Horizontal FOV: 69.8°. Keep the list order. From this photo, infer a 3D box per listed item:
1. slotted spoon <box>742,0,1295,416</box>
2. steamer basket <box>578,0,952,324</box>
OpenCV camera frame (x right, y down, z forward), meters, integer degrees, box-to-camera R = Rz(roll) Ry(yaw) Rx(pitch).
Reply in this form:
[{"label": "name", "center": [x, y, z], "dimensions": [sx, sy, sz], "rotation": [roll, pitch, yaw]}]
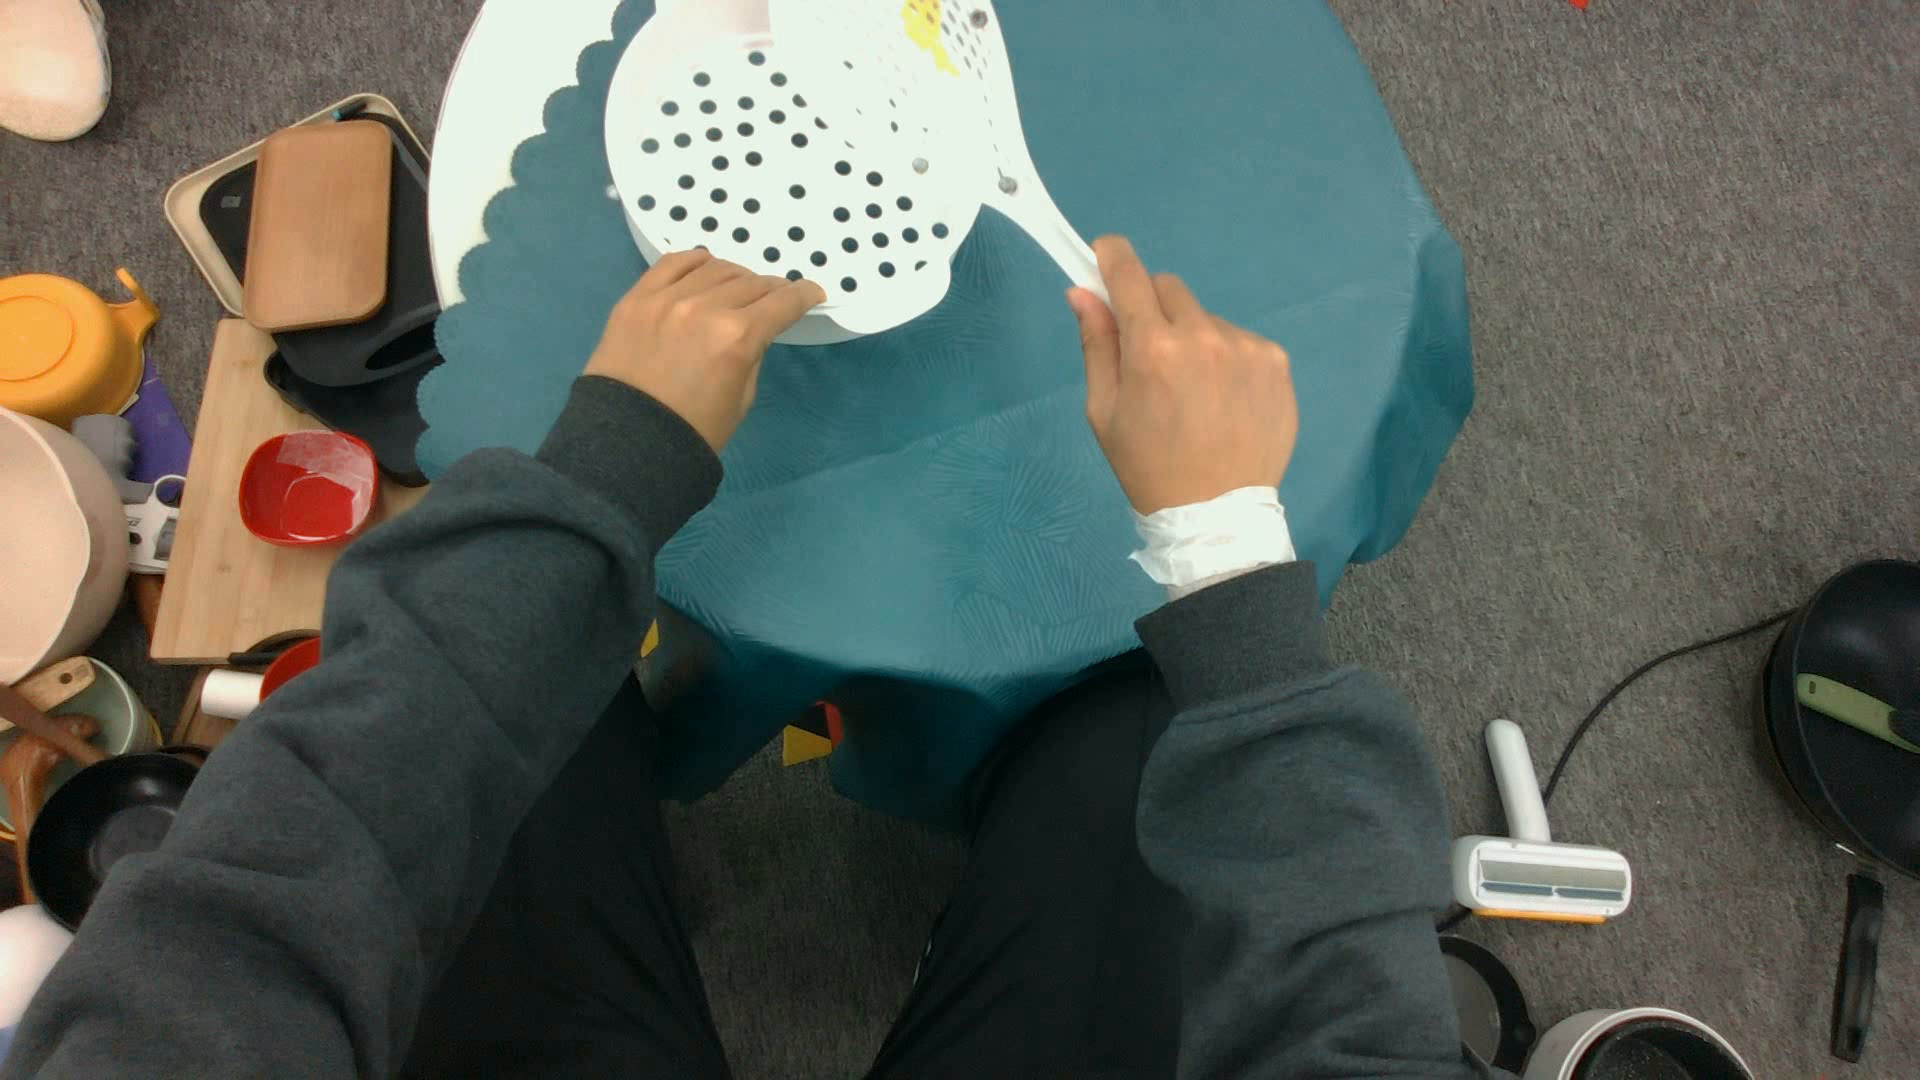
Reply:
[{"label": "slotted spoon", "center": [0.026, -0.181, 0.650], "dimensions": [0.050, 0.136, 0.348], "rotation": [-29, 77, -43]}, {"label": "steamer basket", "center": [-0.102, -0.216, 0.754], "dimensions": [0.202, 0.069, 0.231], "rotation": [-28, 80, -16]}]
